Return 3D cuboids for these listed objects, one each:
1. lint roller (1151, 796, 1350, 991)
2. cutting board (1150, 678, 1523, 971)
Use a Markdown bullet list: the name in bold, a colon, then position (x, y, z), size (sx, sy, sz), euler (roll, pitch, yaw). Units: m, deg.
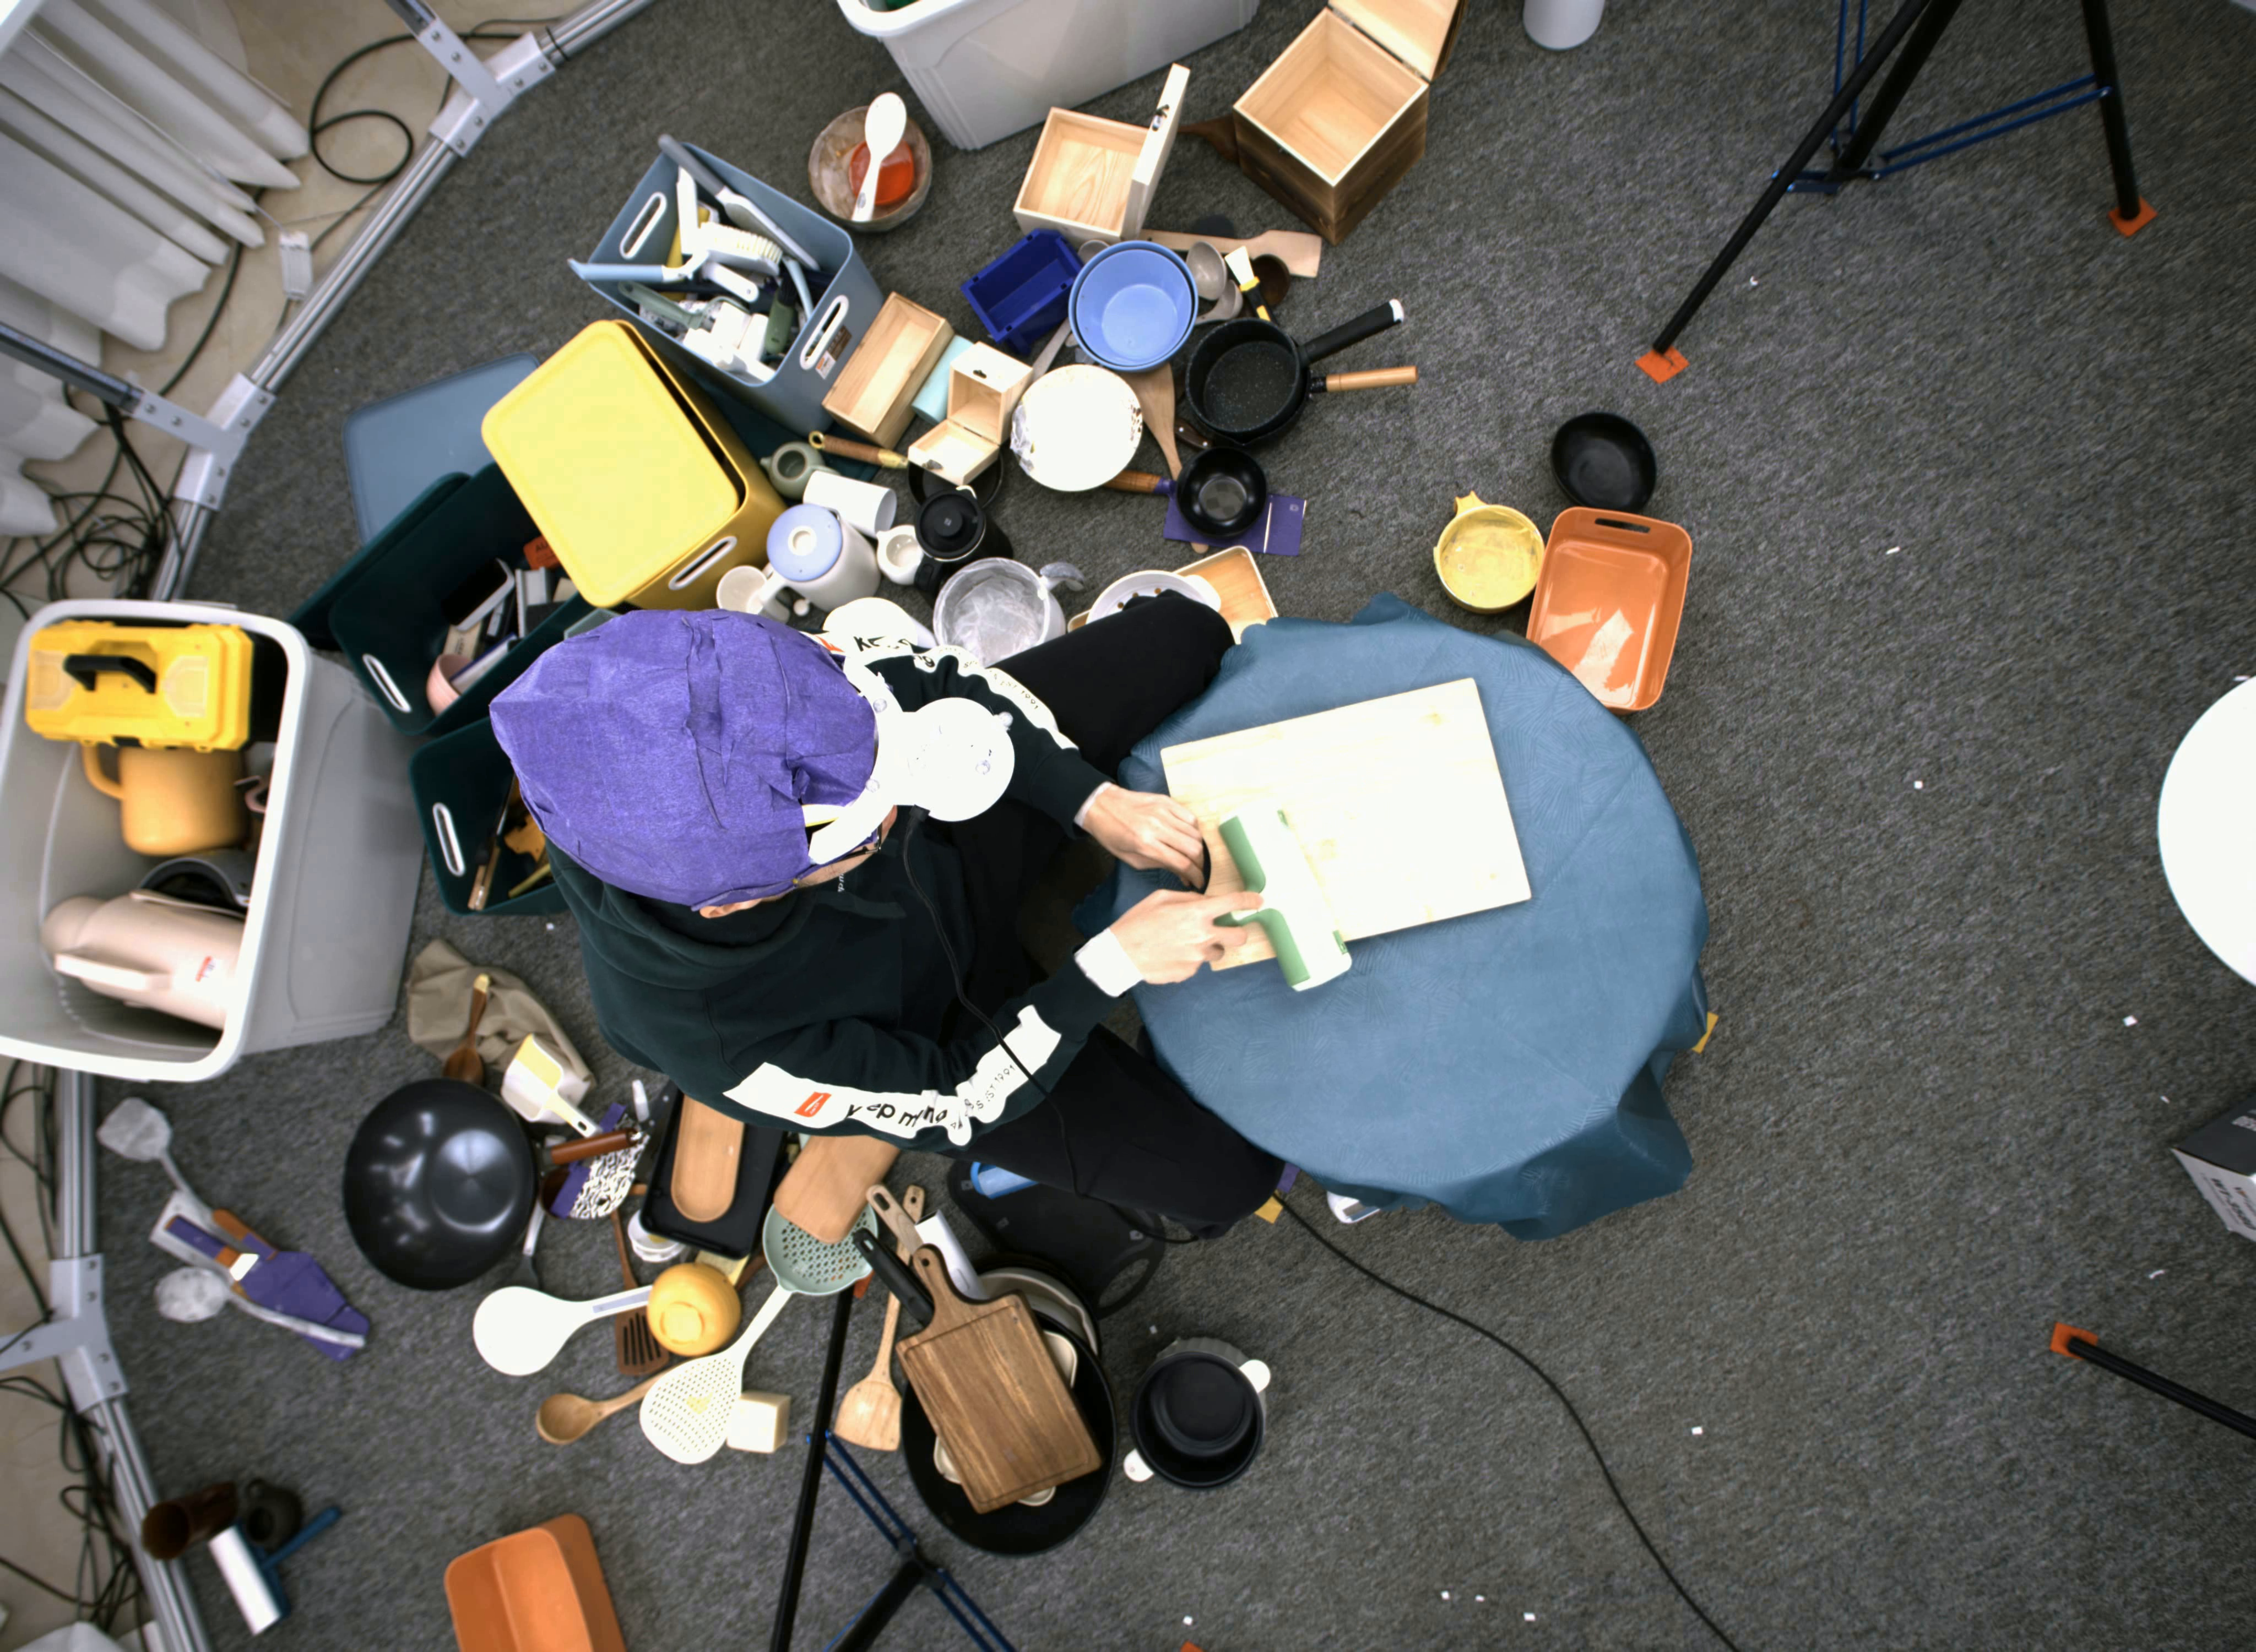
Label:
- **lint roller**: position (0.113, 0.081, 1.369), size (0.181, 0.083, 0.197), euler (-20, 84, -27)
- **cutting board**: position (0.219, -0.003, 1.440), size (0.349, 0.023, 0.249), euler (-14, 84, 2)
